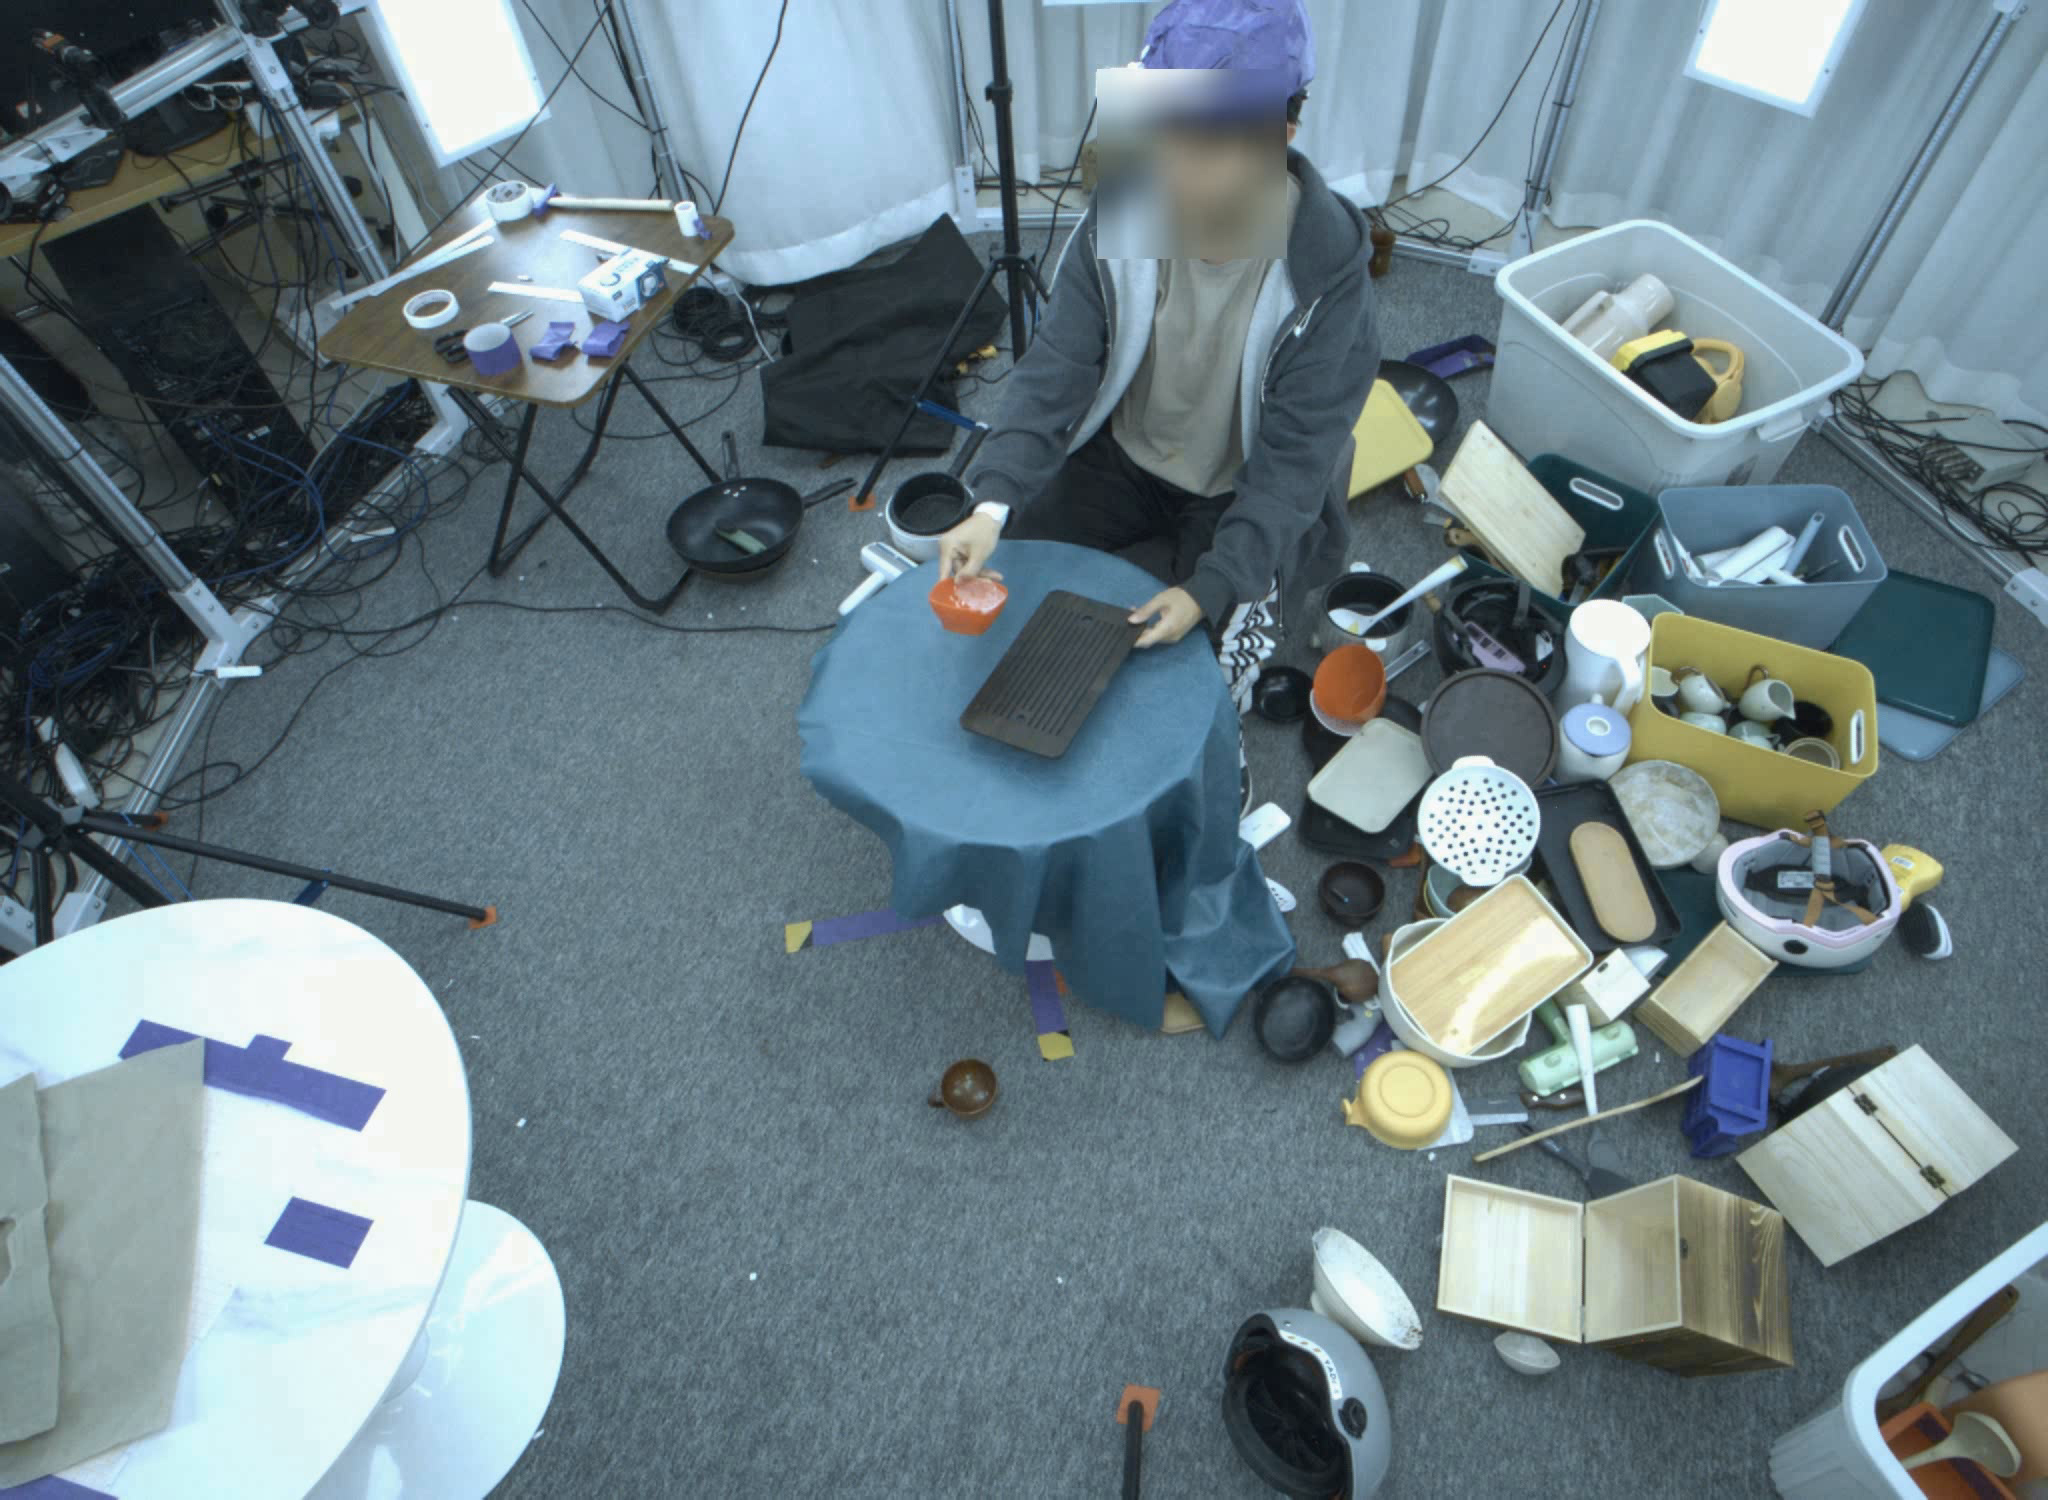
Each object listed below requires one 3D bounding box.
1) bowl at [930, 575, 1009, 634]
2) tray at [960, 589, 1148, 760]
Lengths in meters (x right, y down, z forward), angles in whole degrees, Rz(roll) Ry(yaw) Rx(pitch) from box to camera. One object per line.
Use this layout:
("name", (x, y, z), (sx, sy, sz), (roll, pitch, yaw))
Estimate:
("bowl", (-0.080, -0.205, 1.762), (0.119, 0.052, 0.118), (6, 31, -2))
("tray", (0.049, -0.117, 1.822), (0.167, 0.019, 0.306), (20, 56, 20))
